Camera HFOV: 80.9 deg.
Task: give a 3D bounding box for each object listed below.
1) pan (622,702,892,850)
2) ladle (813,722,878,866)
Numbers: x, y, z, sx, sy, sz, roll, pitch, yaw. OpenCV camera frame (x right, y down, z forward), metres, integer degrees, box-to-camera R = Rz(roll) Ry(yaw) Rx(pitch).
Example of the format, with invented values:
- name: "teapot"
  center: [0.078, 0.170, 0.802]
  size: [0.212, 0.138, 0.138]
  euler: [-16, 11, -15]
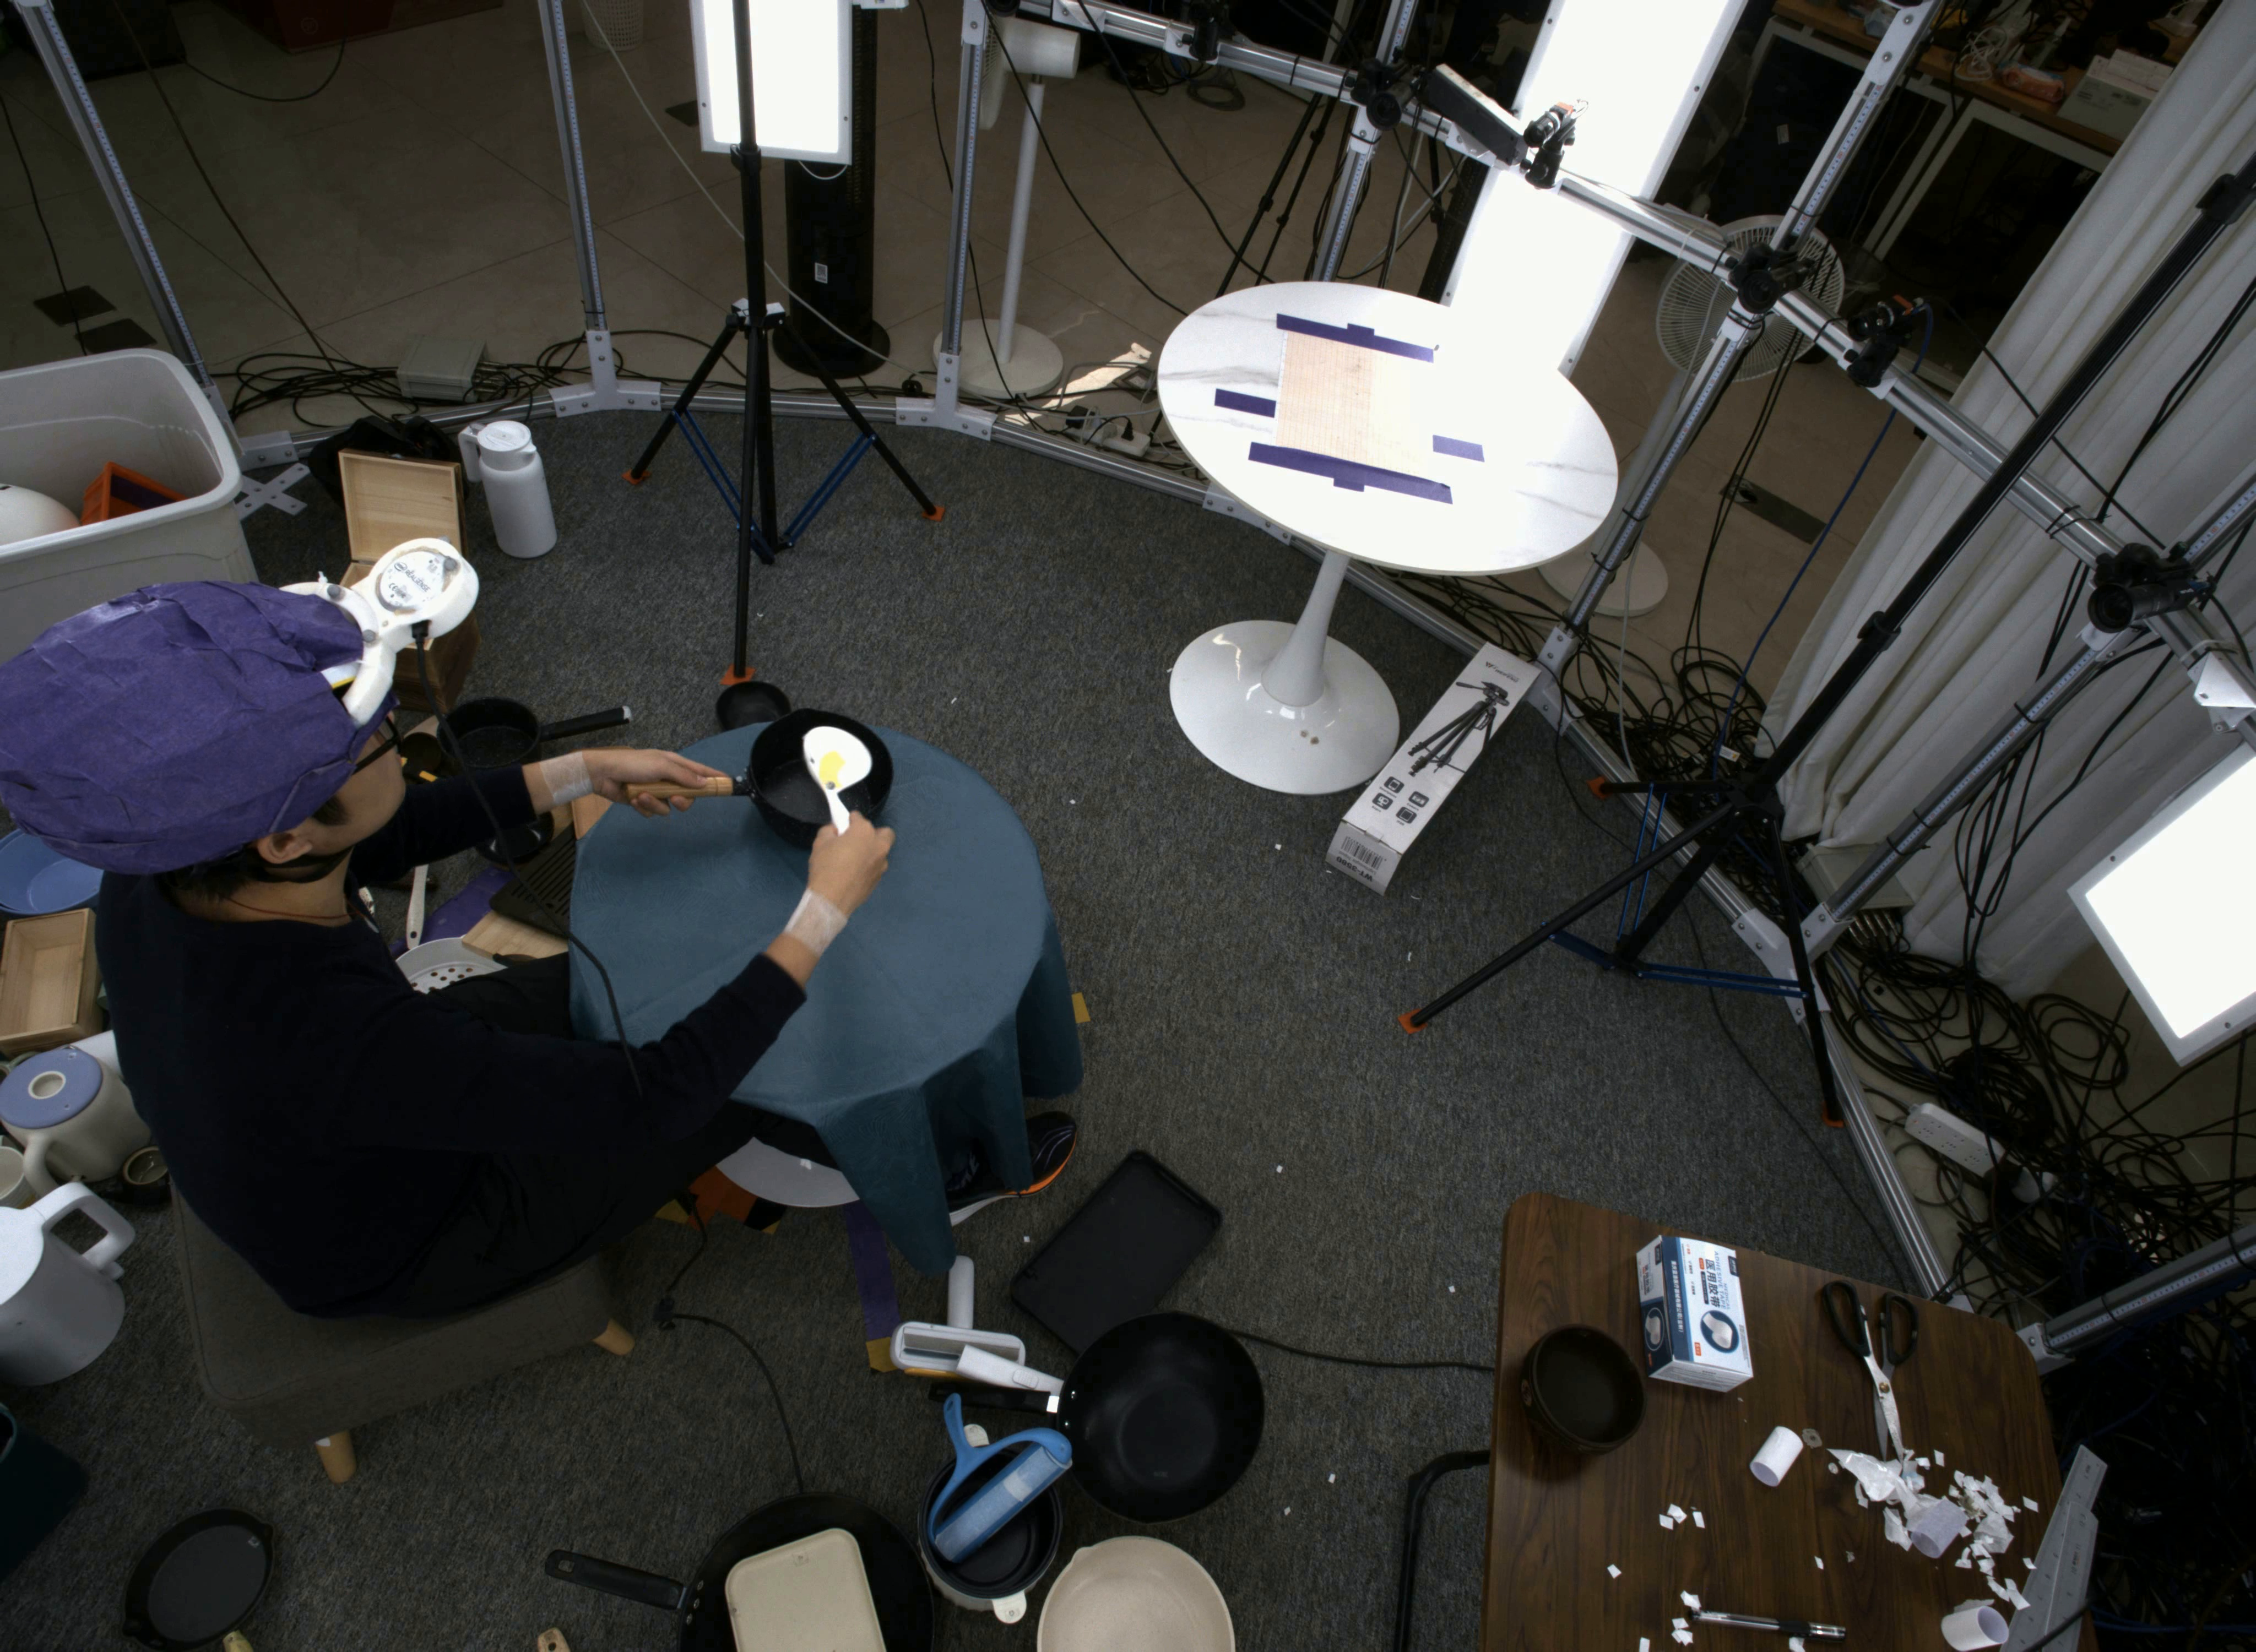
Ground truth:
- name: "pan"
  center: [-0.472, -0.048, 1.650]
  size: [0.346, 0.109, 0.203]
  euler: [-12, 62, -30]
- name: "ladle"
  center: [-0.327, -0.041, 1.520]
  size: [0.092, 0.070, 0.284]
  euler: [32, 10, -26]
